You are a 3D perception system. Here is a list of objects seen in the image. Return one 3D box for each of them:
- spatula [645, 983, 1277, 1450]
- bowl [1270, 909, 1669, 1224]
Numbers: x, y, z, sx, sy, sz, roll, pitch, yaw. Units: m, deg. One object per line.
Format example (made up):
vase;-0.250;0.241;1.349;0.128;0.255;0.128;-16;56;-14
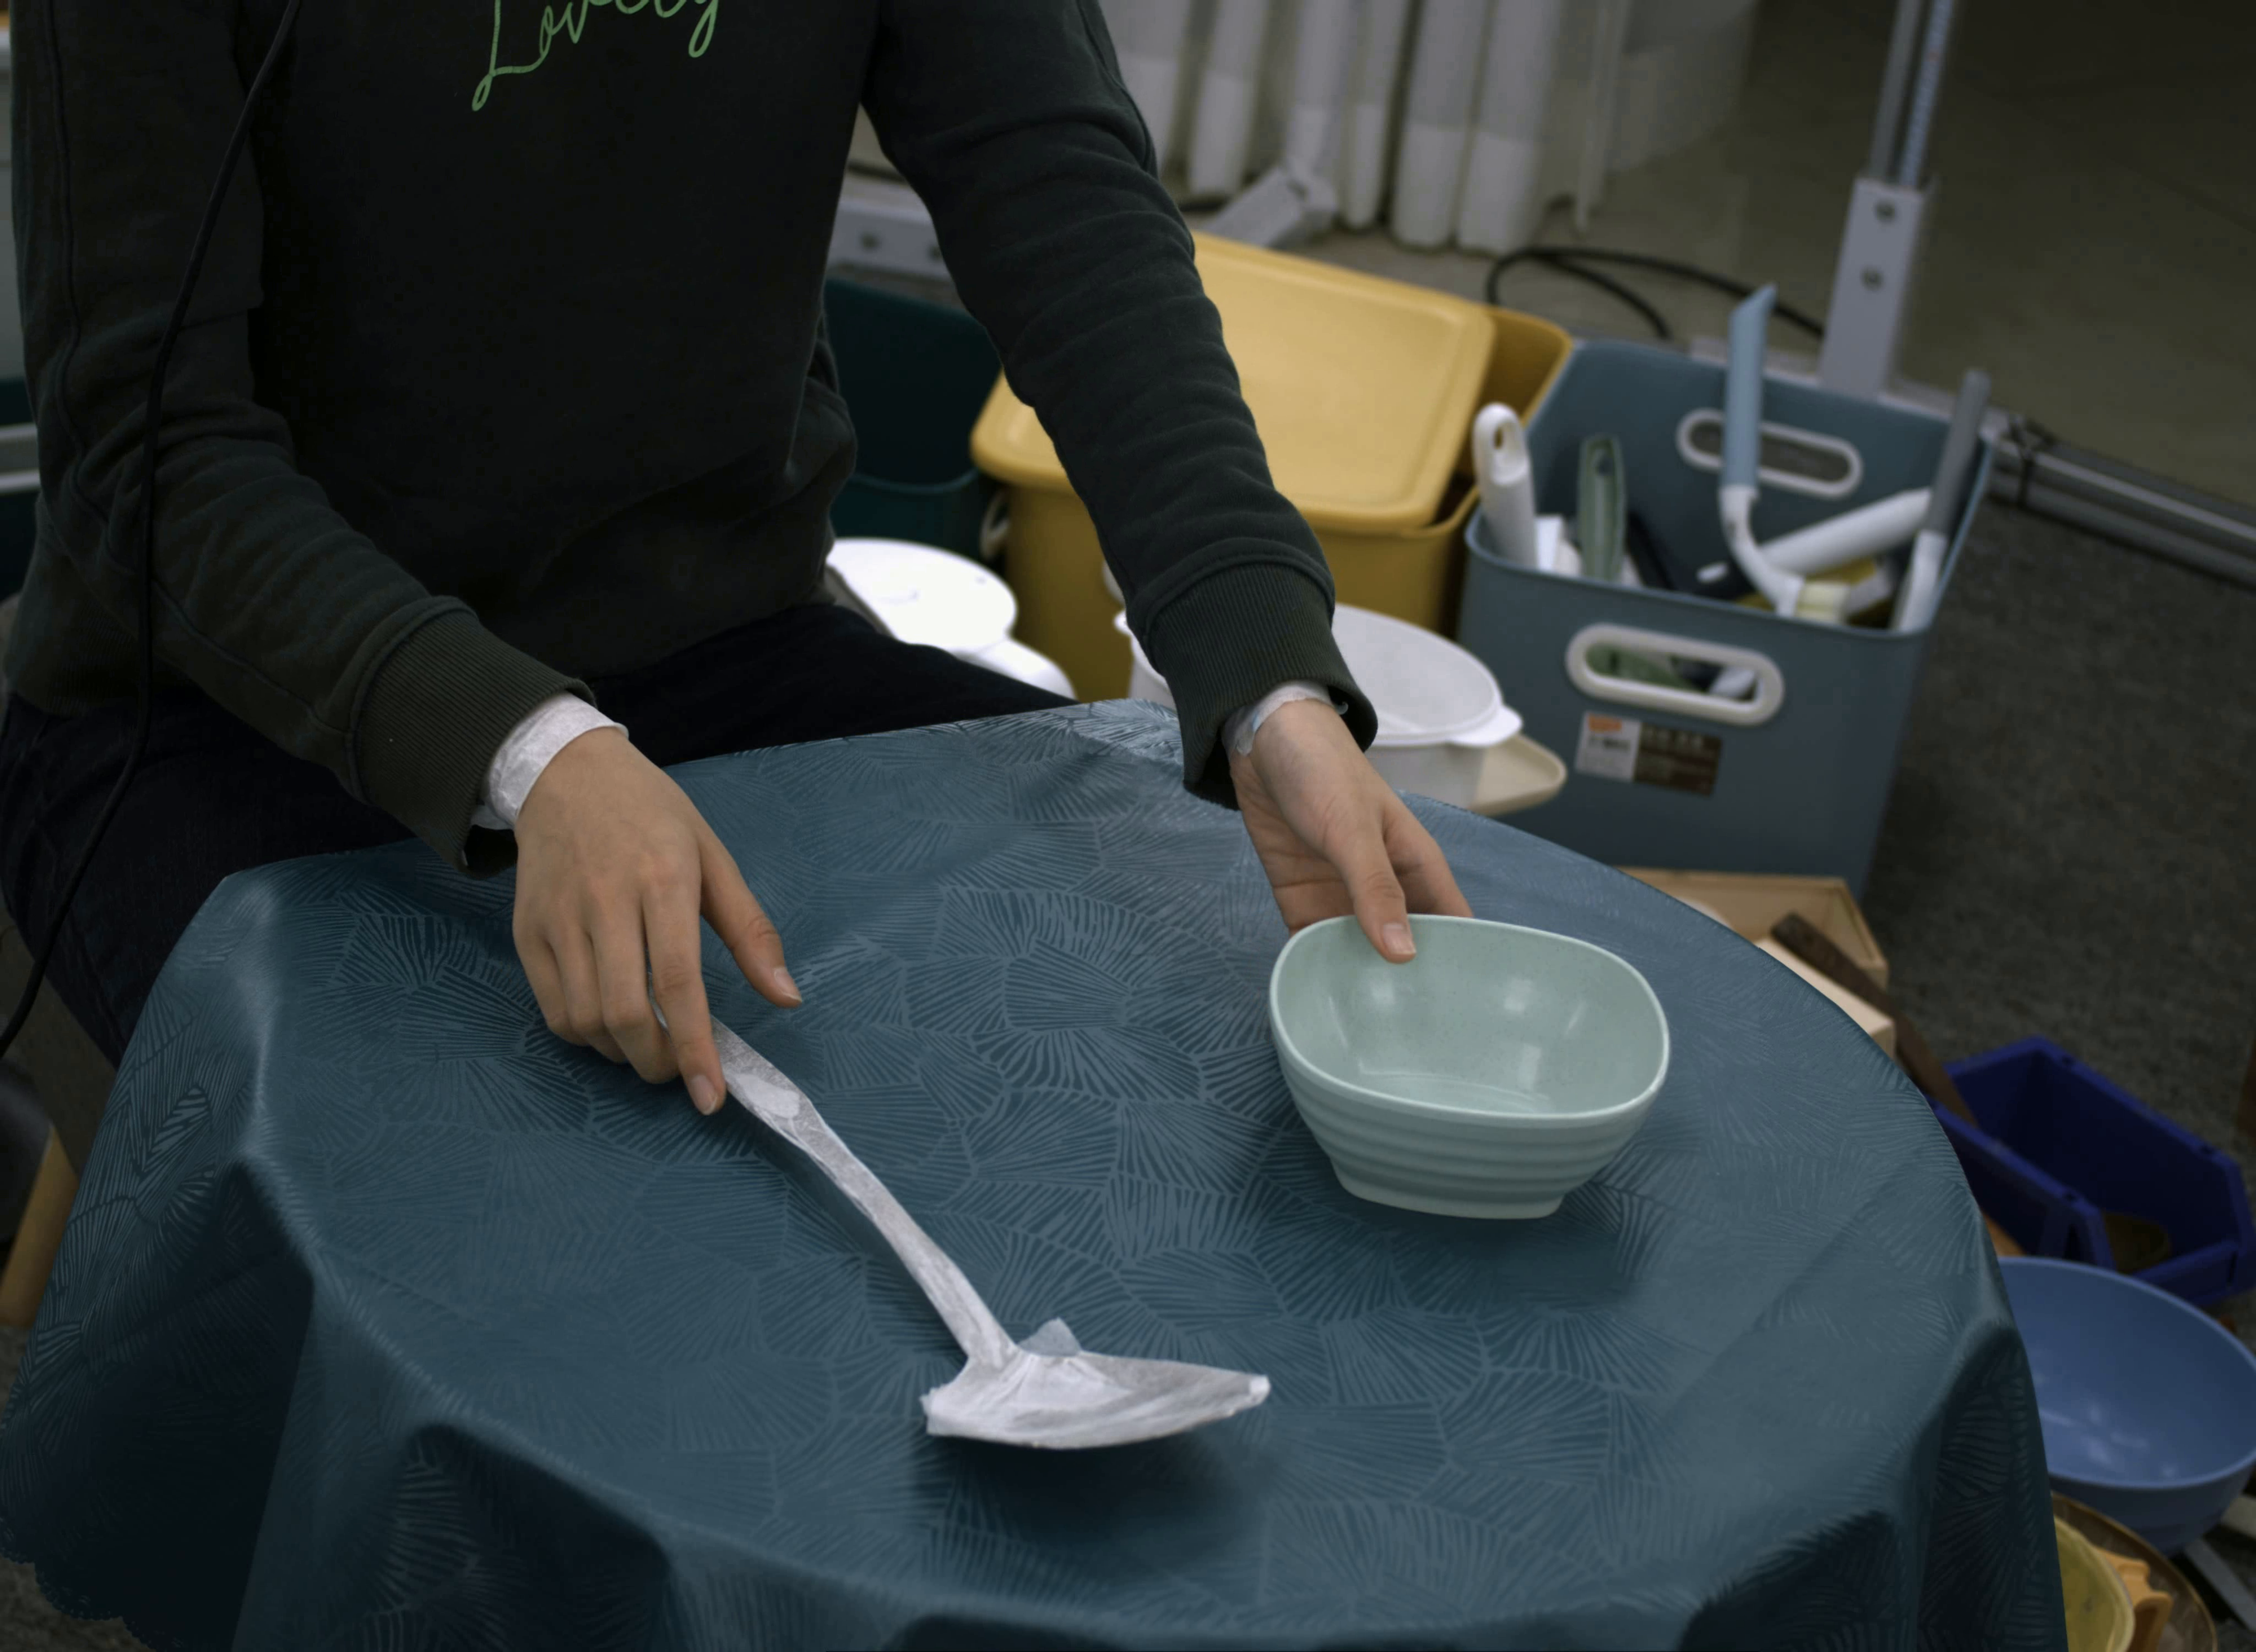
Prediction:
spatula;-0.079;0.120;1.747;0.098;0.044;0.368;-11;32;-28
bowl;0.113;0.089;1.833;0.151;0.058;0.152;7;28;-4
